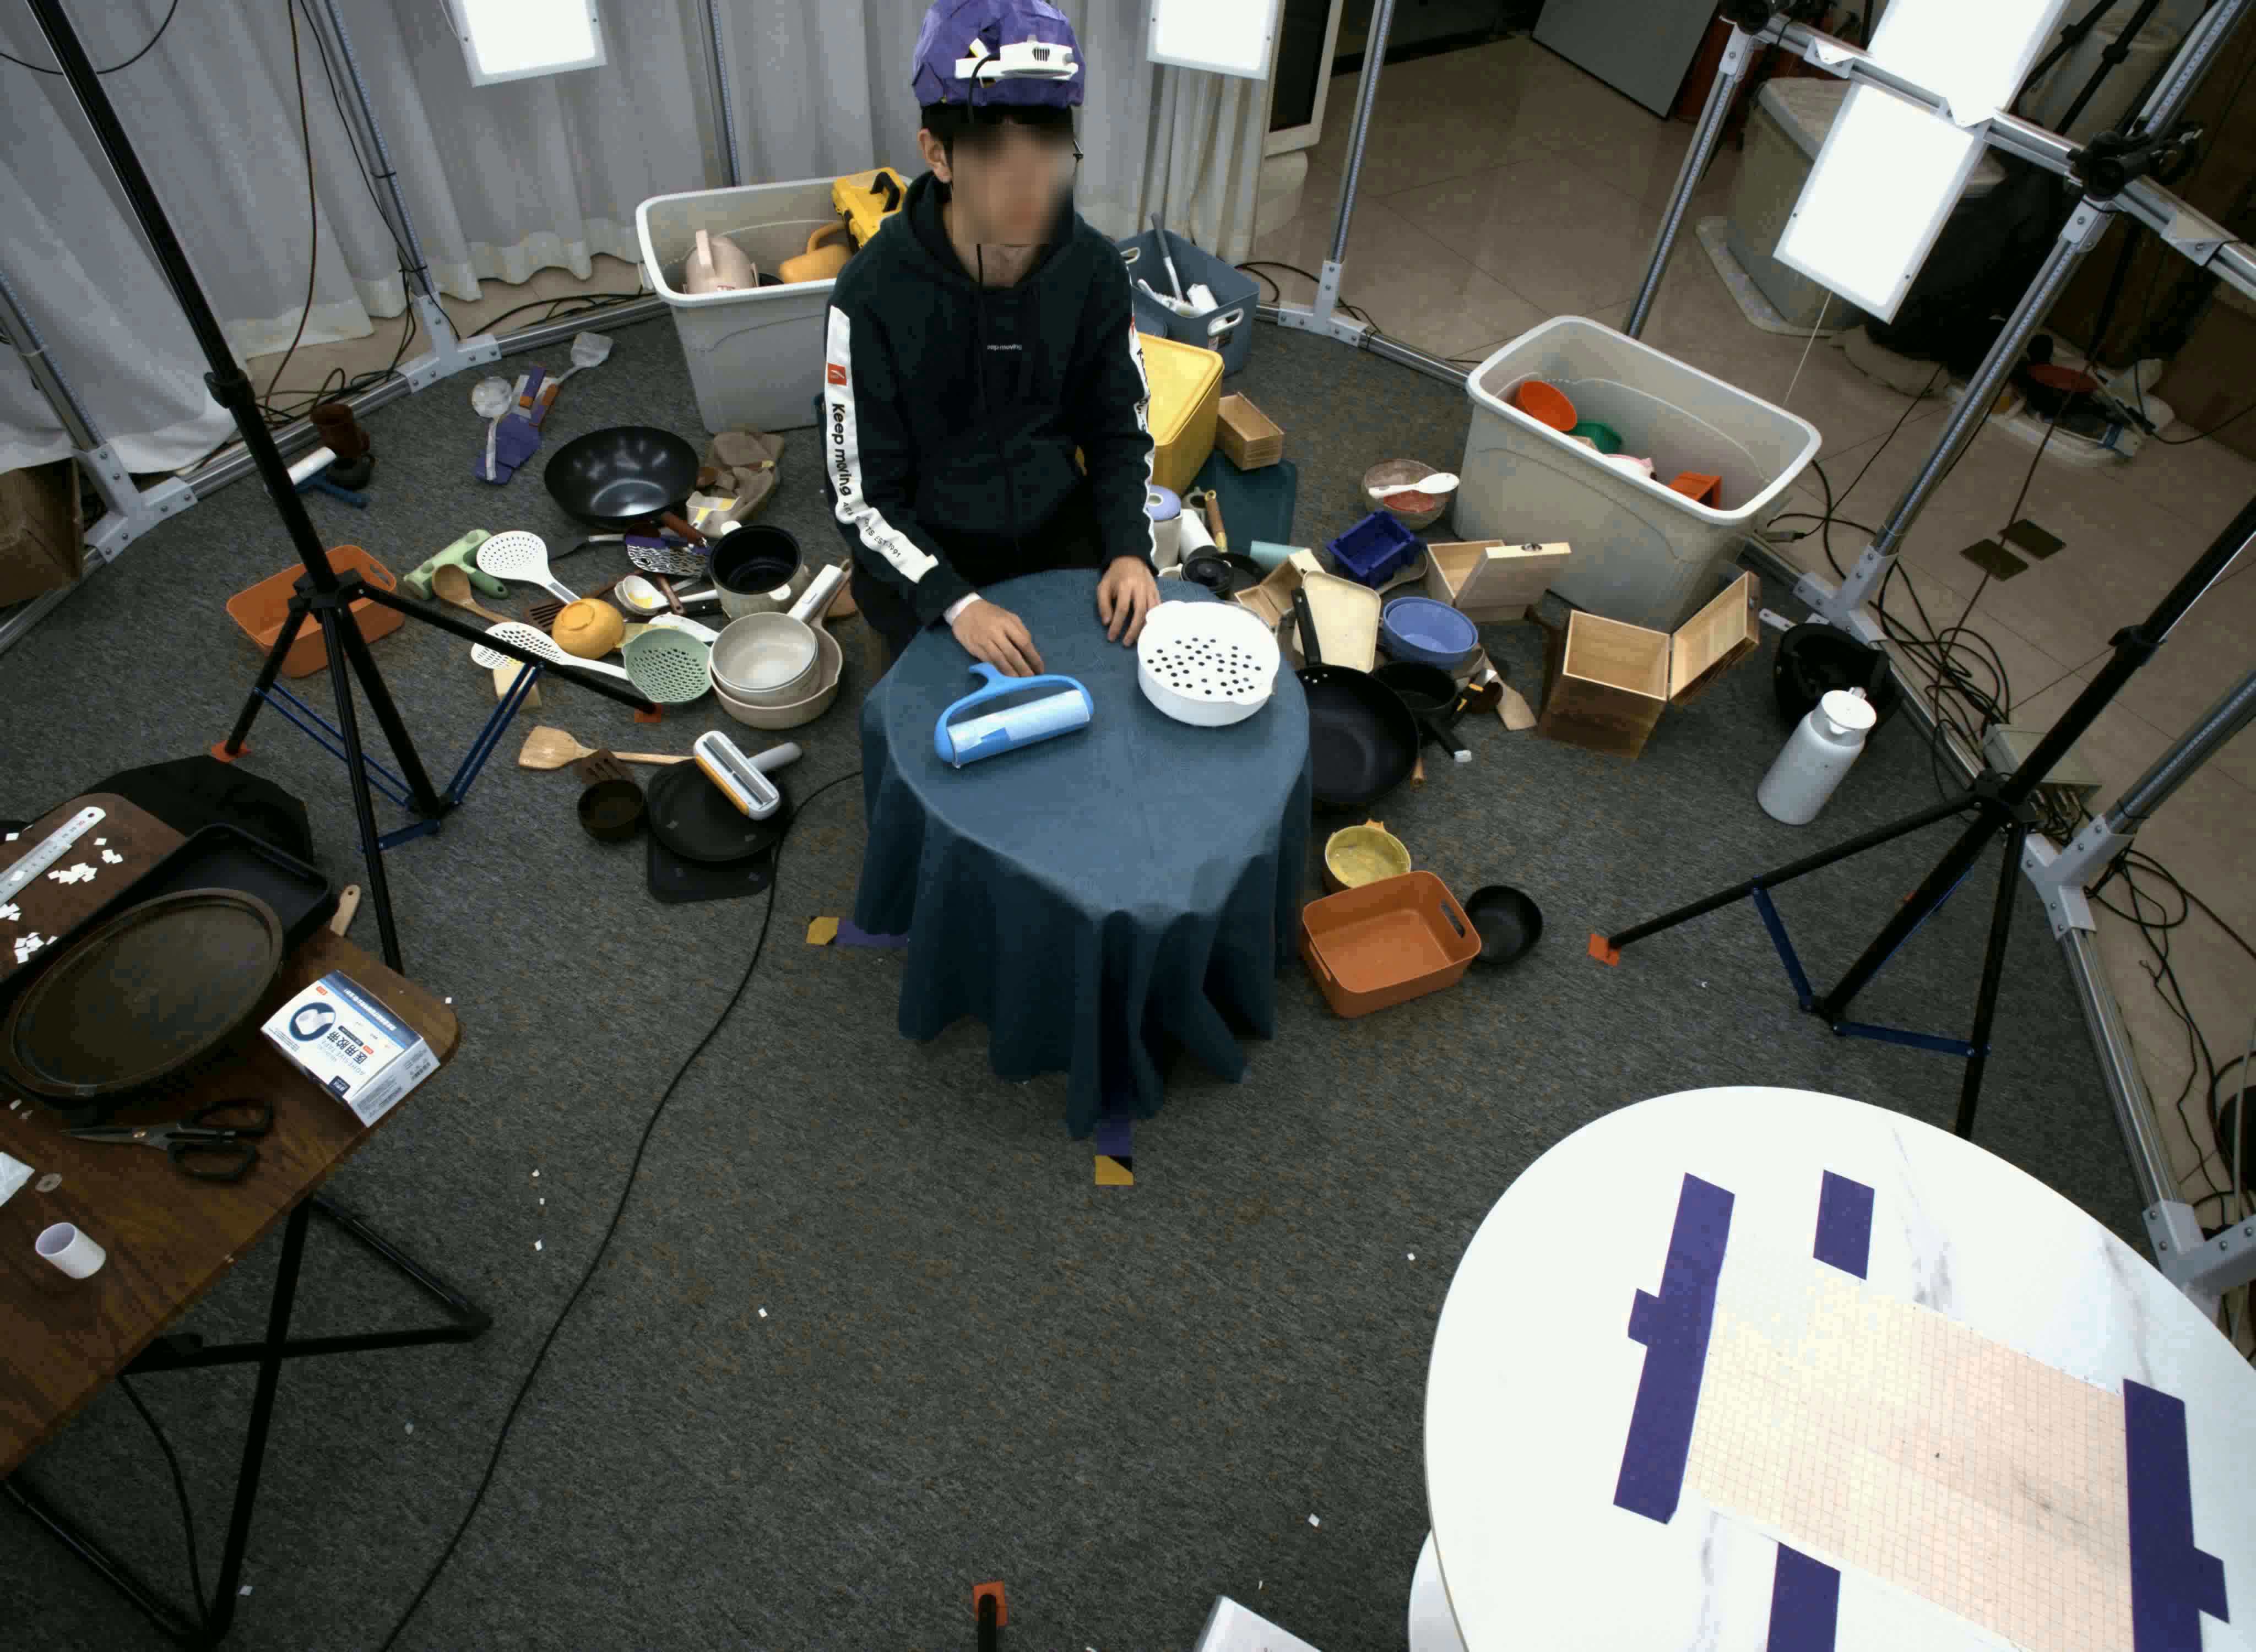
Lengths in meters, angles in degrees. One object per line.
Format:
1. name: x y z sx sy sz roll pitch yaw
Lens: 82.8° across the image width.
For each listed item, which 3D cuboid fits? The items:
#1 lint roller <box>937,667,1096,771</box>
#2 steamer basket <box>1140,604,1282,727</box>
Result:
1. lint roller: -0.177 -0.173 1.771 0.229 0.066 0.184 -23 55 -19
2. steamer basket: 0.115 -0.227 1.828 0.203 0.067 0.235 -28 55 -25
